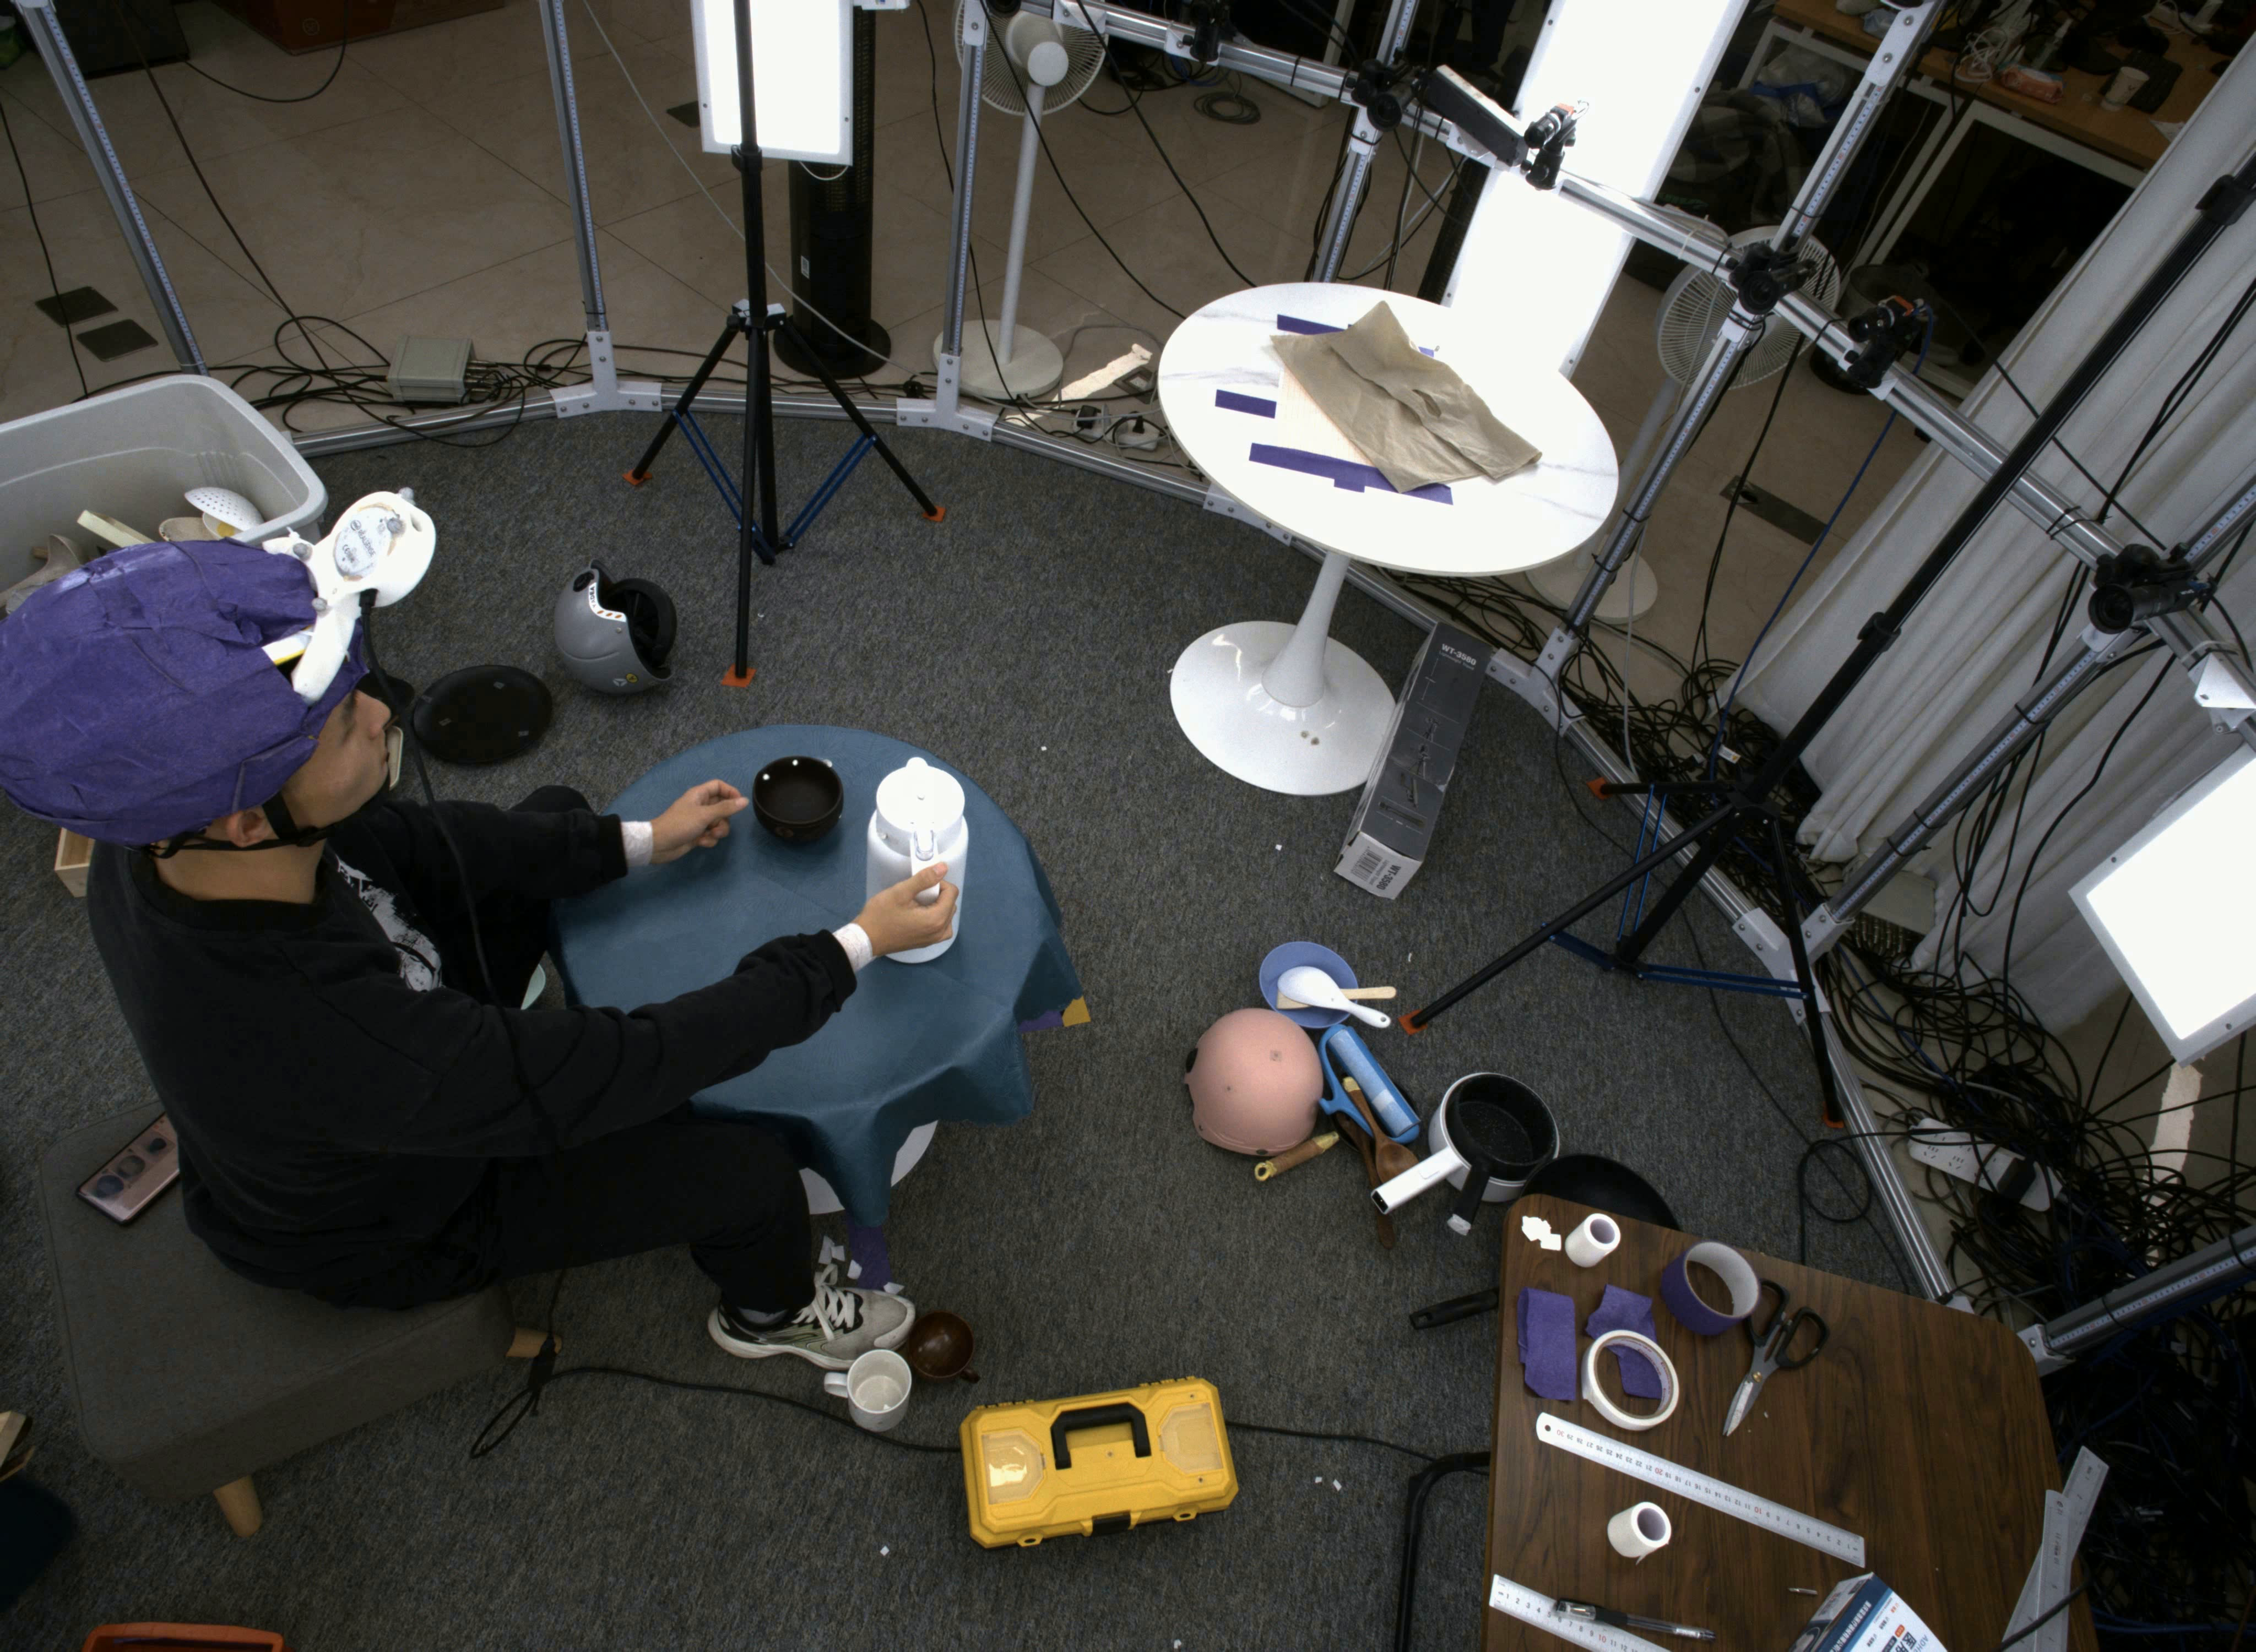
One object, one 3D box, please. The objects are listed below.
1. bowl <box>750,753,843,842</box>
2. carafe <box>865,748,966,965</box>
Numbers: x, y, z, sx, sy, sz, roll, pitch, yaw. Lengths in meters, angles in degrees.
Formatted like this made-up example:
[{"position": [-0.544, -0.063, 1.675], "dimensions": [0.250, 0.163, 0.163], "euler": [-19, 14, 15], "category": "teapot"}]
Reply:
[{"position": [-0.432, -0.030, 1.694], "dimensions": [0.118, 0.071, 0.116], "euler": [7, 53, -8], "category": "bowl"}, {"position": [-0.251, 0.059, 1.550], "dimensions": [0.124, 0.274, 0.169], "euler": [-3, 53, -16], "category": "carafe"}]
